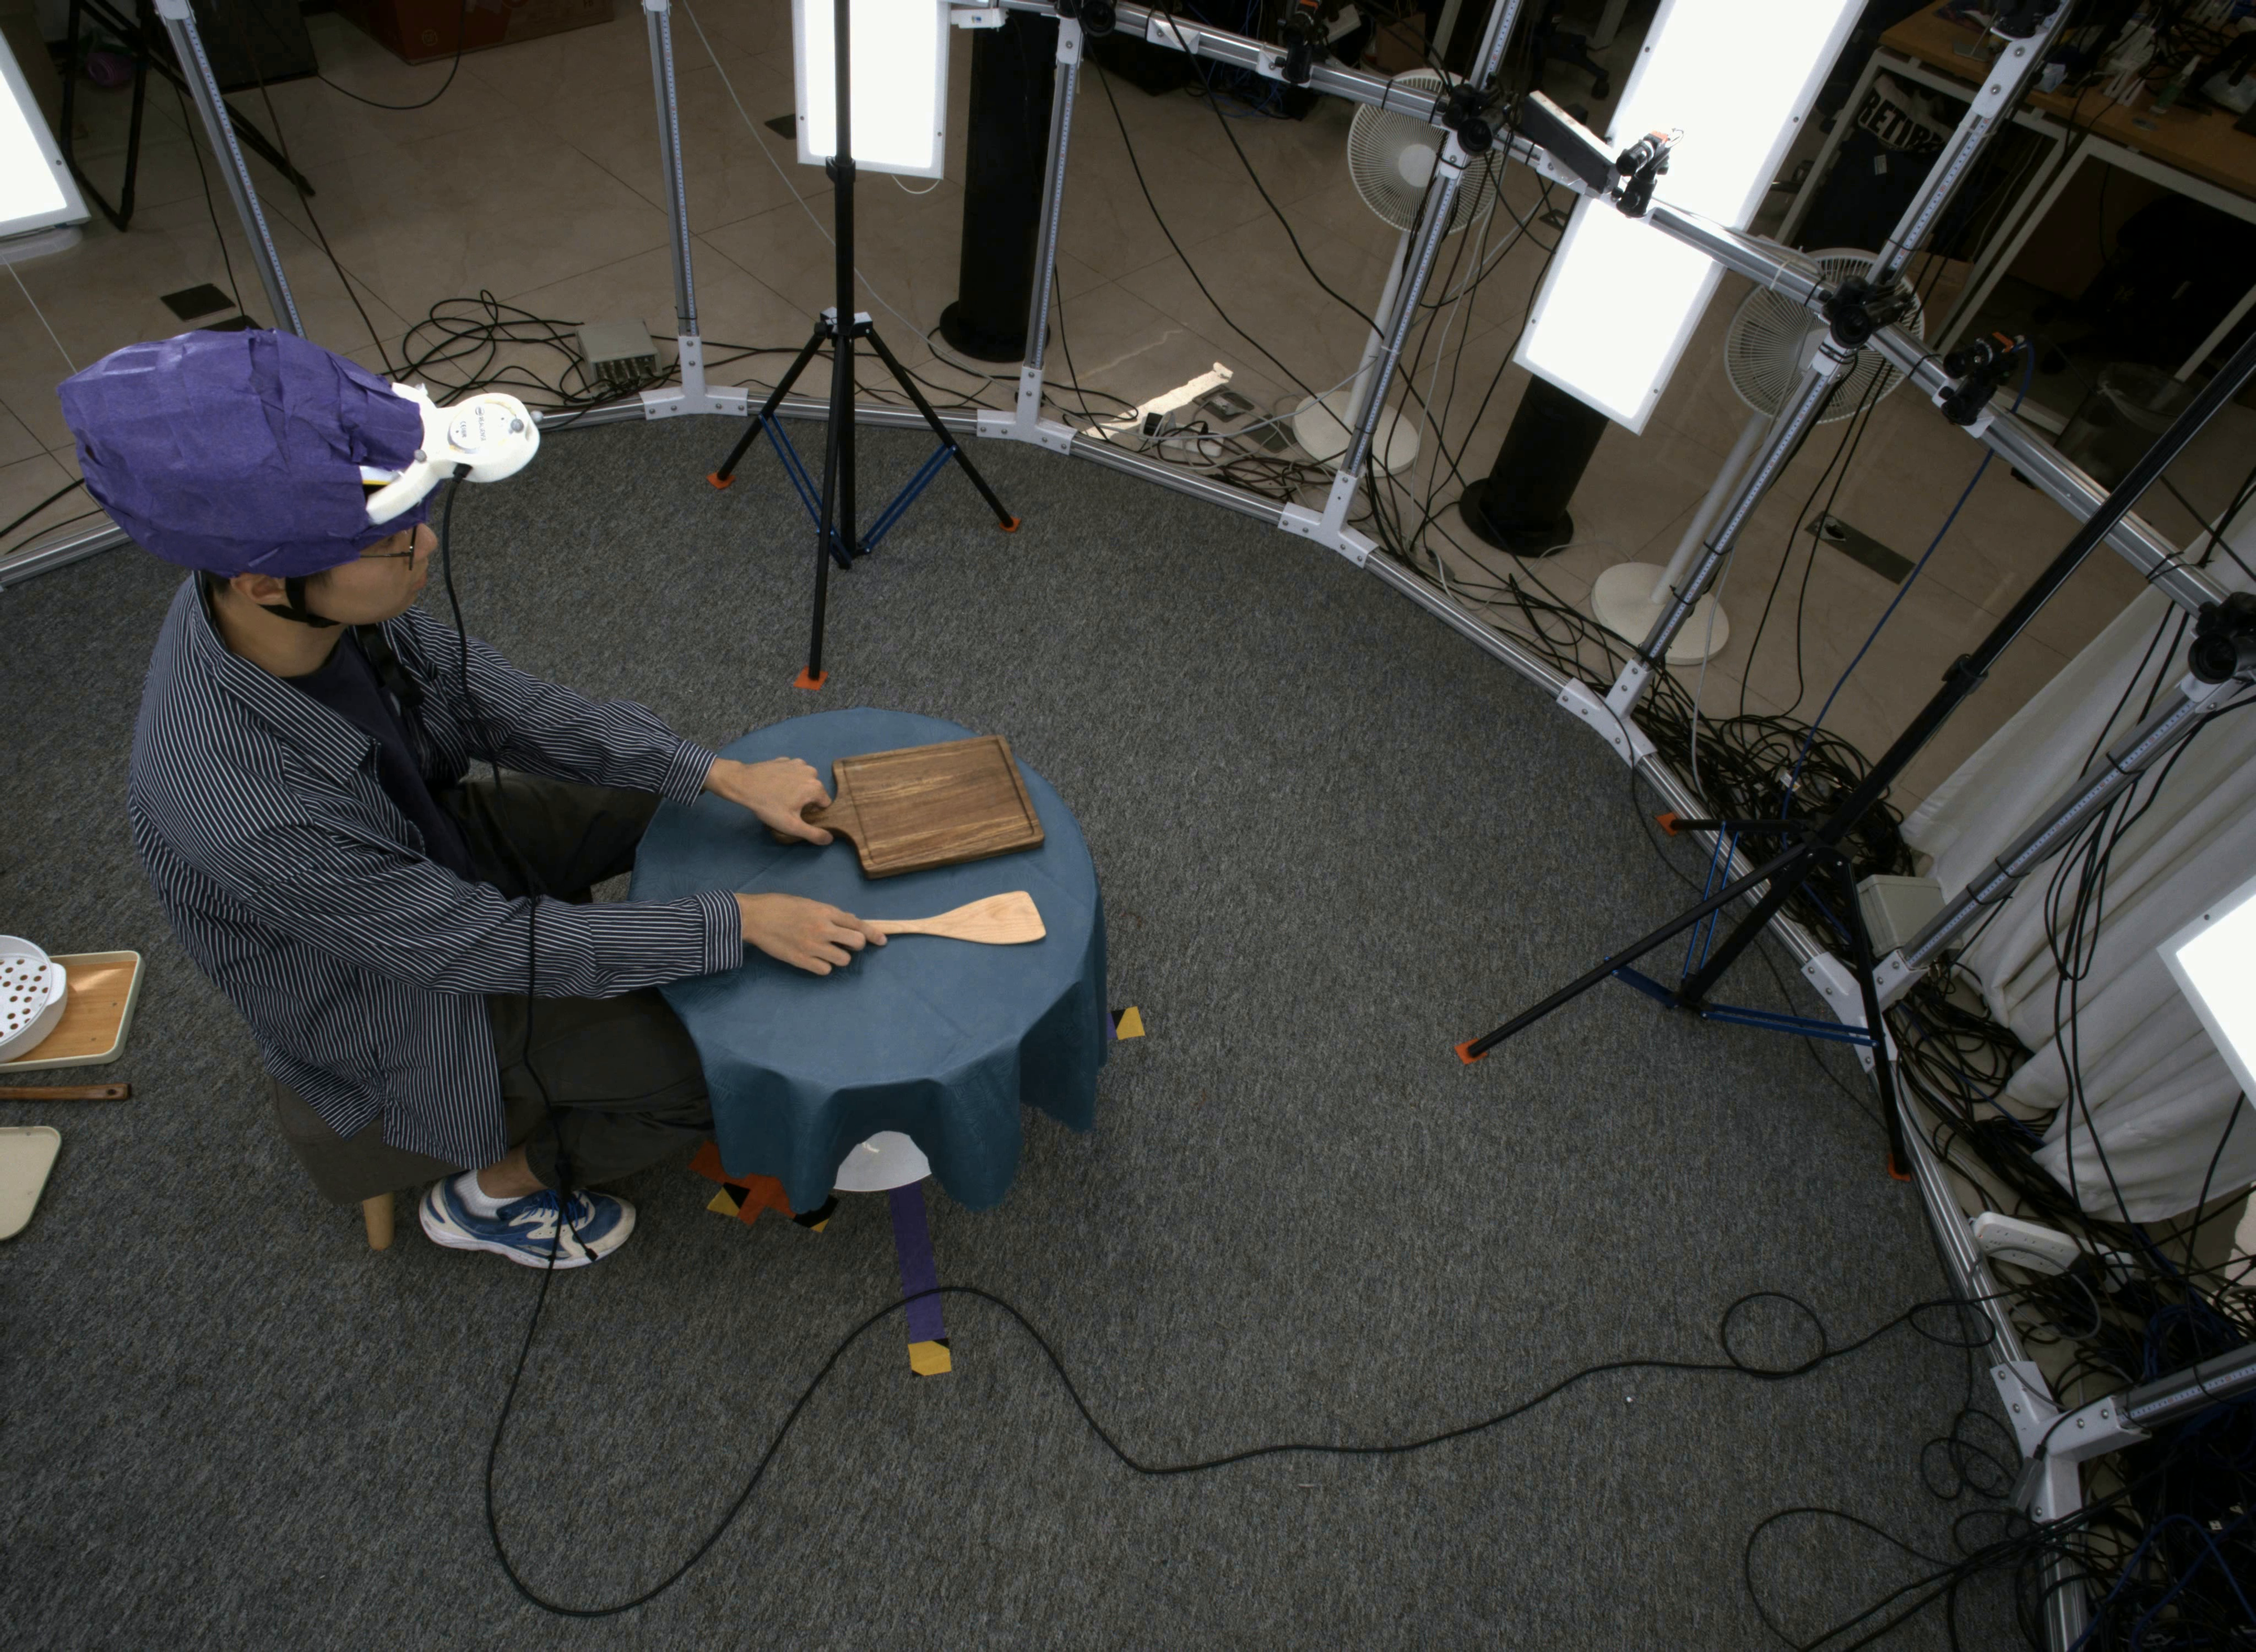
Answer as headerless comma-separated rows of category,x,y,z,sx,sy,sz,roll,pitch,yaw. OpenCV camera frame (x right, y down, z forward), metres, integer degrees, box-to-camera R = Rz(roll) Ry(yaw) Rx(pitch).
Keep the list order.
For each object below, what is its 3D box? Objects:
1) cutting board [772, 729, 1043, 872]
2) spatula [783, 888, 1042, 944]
cutting board,-0.308,-0.033,1.773,0.354,0.023,0.196,-10,57,-22
spatula,-0.276,0.122,1.672,0.329,0.017,0.078,-3,53,-19
